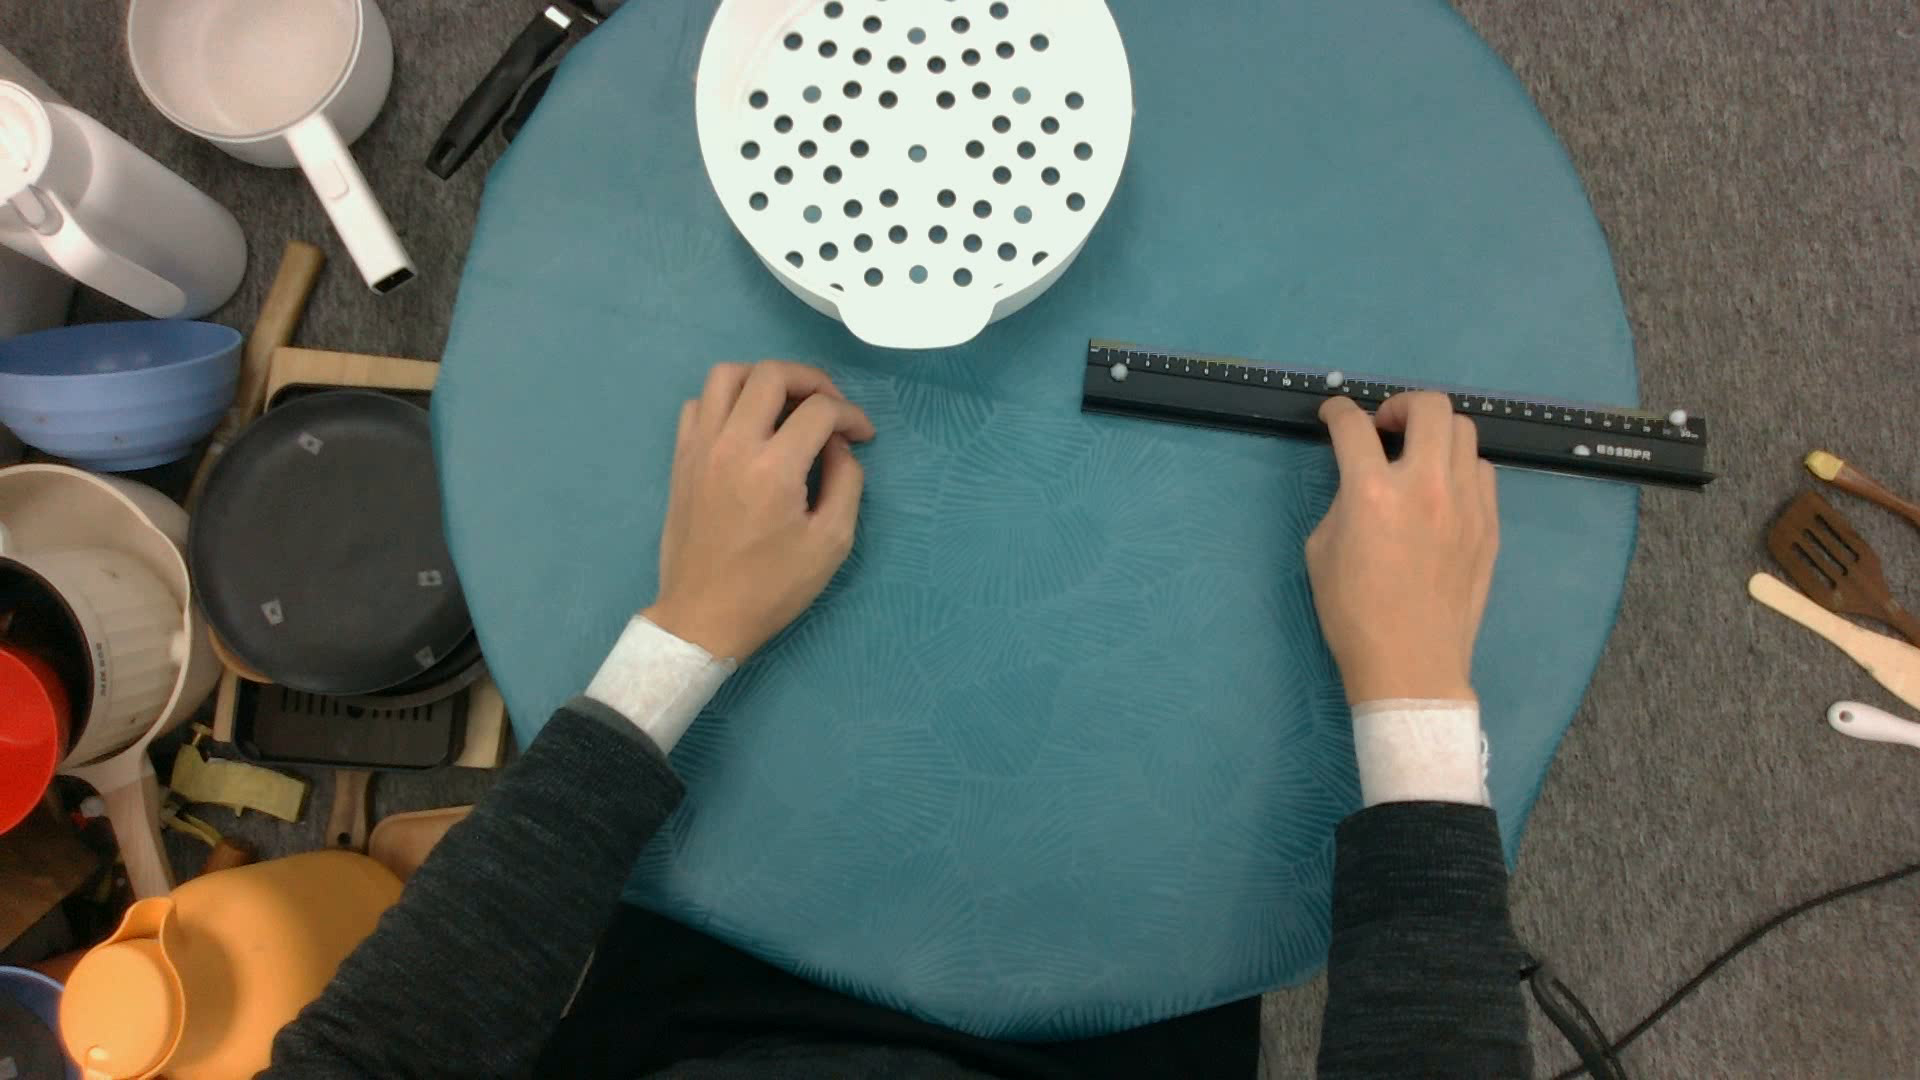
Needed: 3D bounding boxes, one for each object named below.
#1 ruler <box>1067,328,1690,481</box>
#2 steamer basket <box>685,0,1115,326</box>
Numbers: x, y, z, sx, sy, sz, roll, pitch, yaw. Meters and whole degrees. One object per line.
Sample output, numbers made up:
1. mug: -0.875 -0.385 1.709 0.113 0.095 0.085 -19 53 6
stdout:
1. ruler: 0.211 -0.069 0.689 0.312 0.017 0.039 8 80 -1
2. steamer basket: -0.028 -0.207 0.673 0.202 0.069 0.231 -1 81 -2
